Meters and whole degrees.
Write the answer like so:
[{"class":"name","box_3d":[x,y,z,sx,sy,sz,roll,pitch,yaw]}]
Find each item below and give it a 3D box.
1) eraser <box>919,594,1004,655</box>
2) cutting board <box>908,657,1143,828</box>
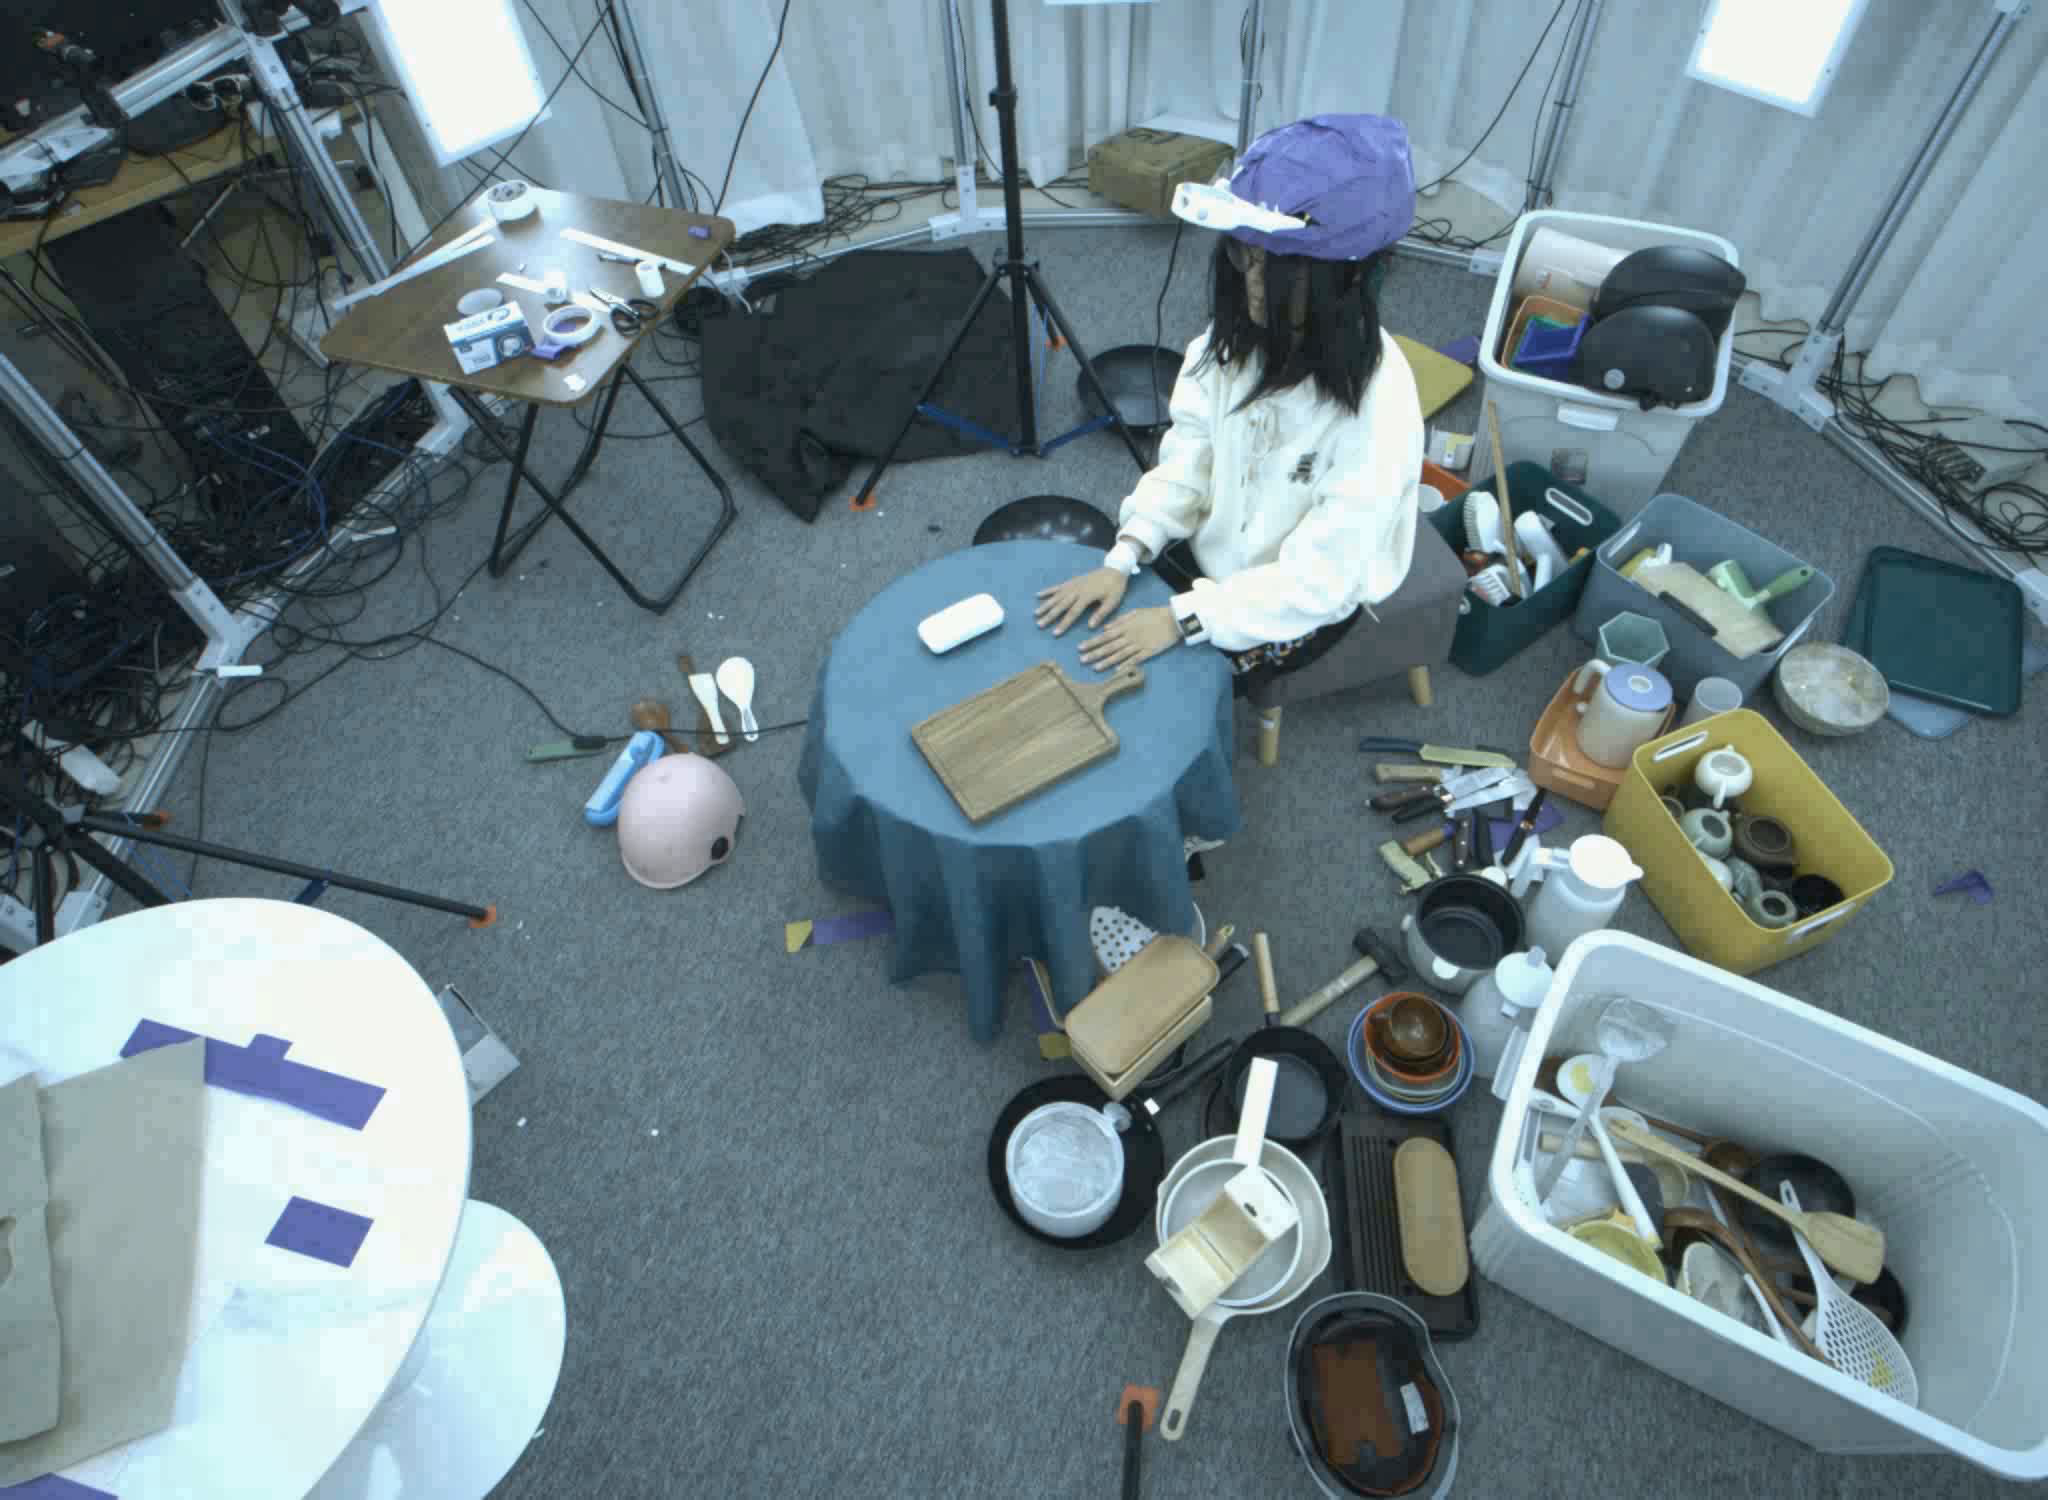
[{"class":"eraser","box_3d":[-0.096,-0.196,1.911,0.132,0.035,0.062,-27,58,-15]},{"class":"cutting board","box_3d":[0.027,-0.039,1.801,0.355,0.023,0.197,-28,59,-17]}]
